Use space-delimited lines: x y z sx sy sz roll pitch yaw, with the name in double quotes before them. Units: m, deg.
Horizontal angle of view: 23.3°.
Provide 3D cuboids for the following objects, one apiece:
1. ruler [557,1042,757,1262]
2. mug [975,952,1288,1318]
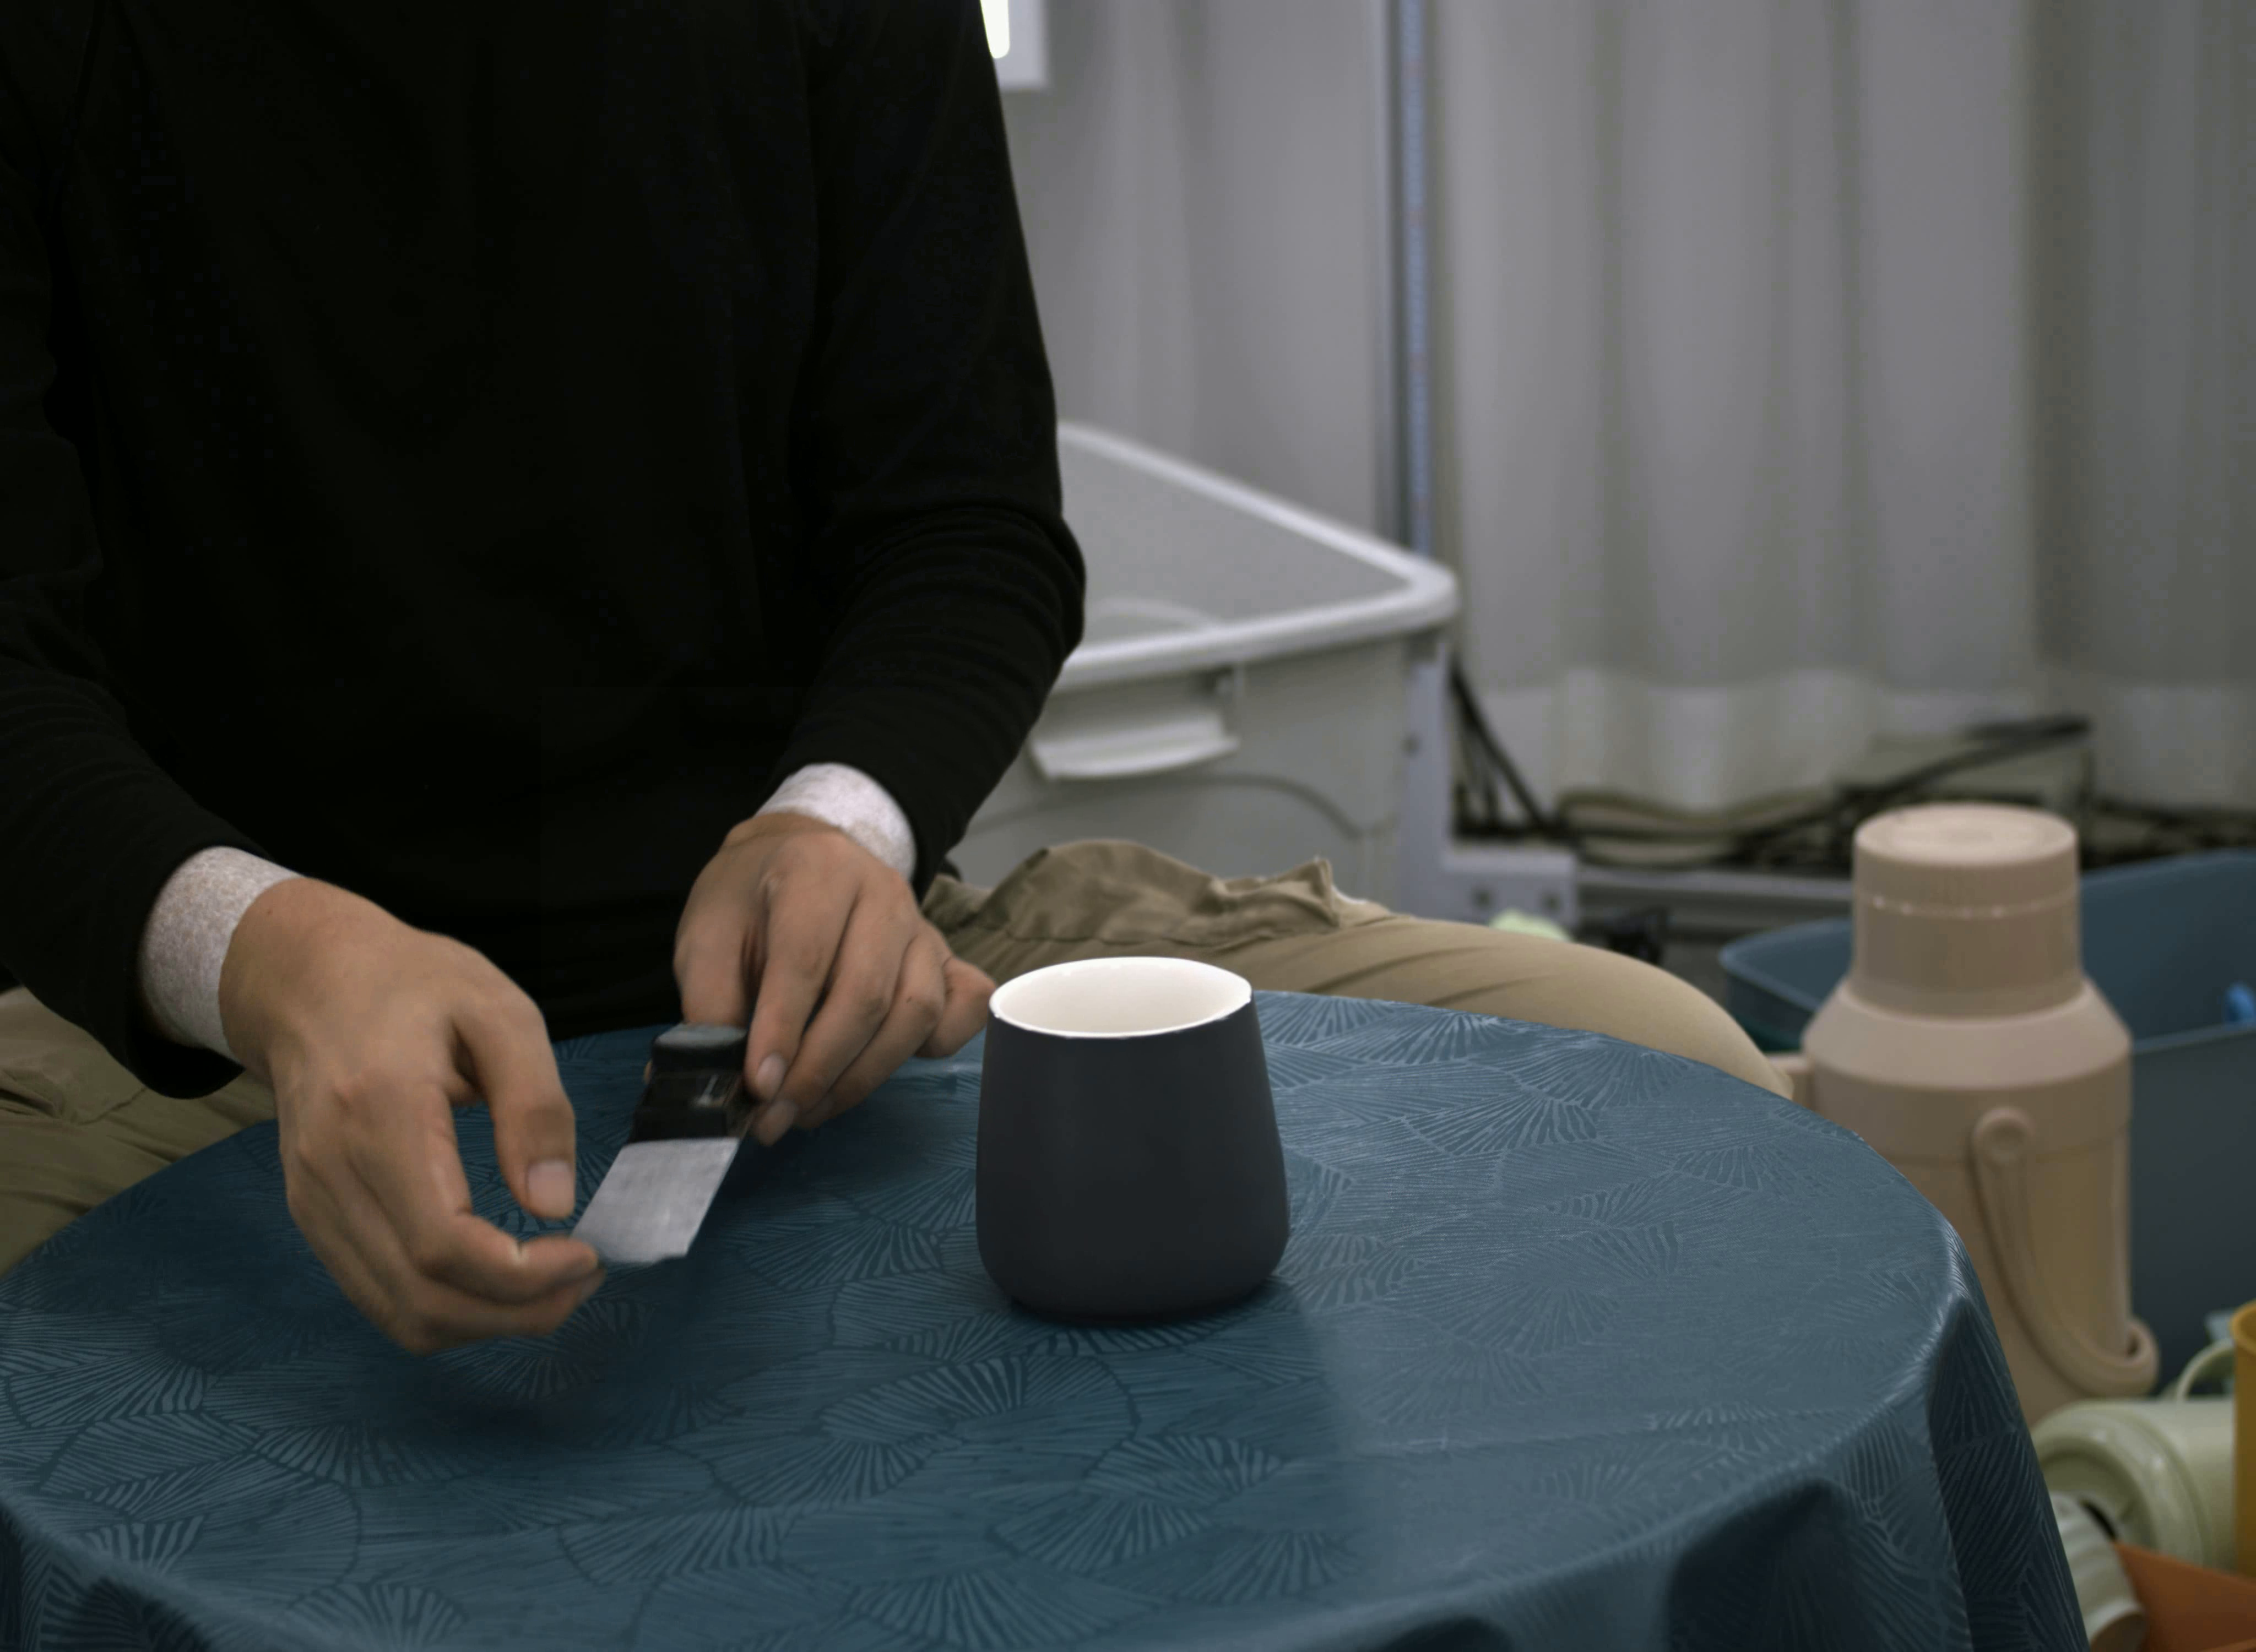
"ruler" -0.138 0.094 1.620 0.038 0.024 0.219 -10 7 3
"mug" -0.005 0.088 1.635 0.093 0.089 0.124 -7 16 -19
